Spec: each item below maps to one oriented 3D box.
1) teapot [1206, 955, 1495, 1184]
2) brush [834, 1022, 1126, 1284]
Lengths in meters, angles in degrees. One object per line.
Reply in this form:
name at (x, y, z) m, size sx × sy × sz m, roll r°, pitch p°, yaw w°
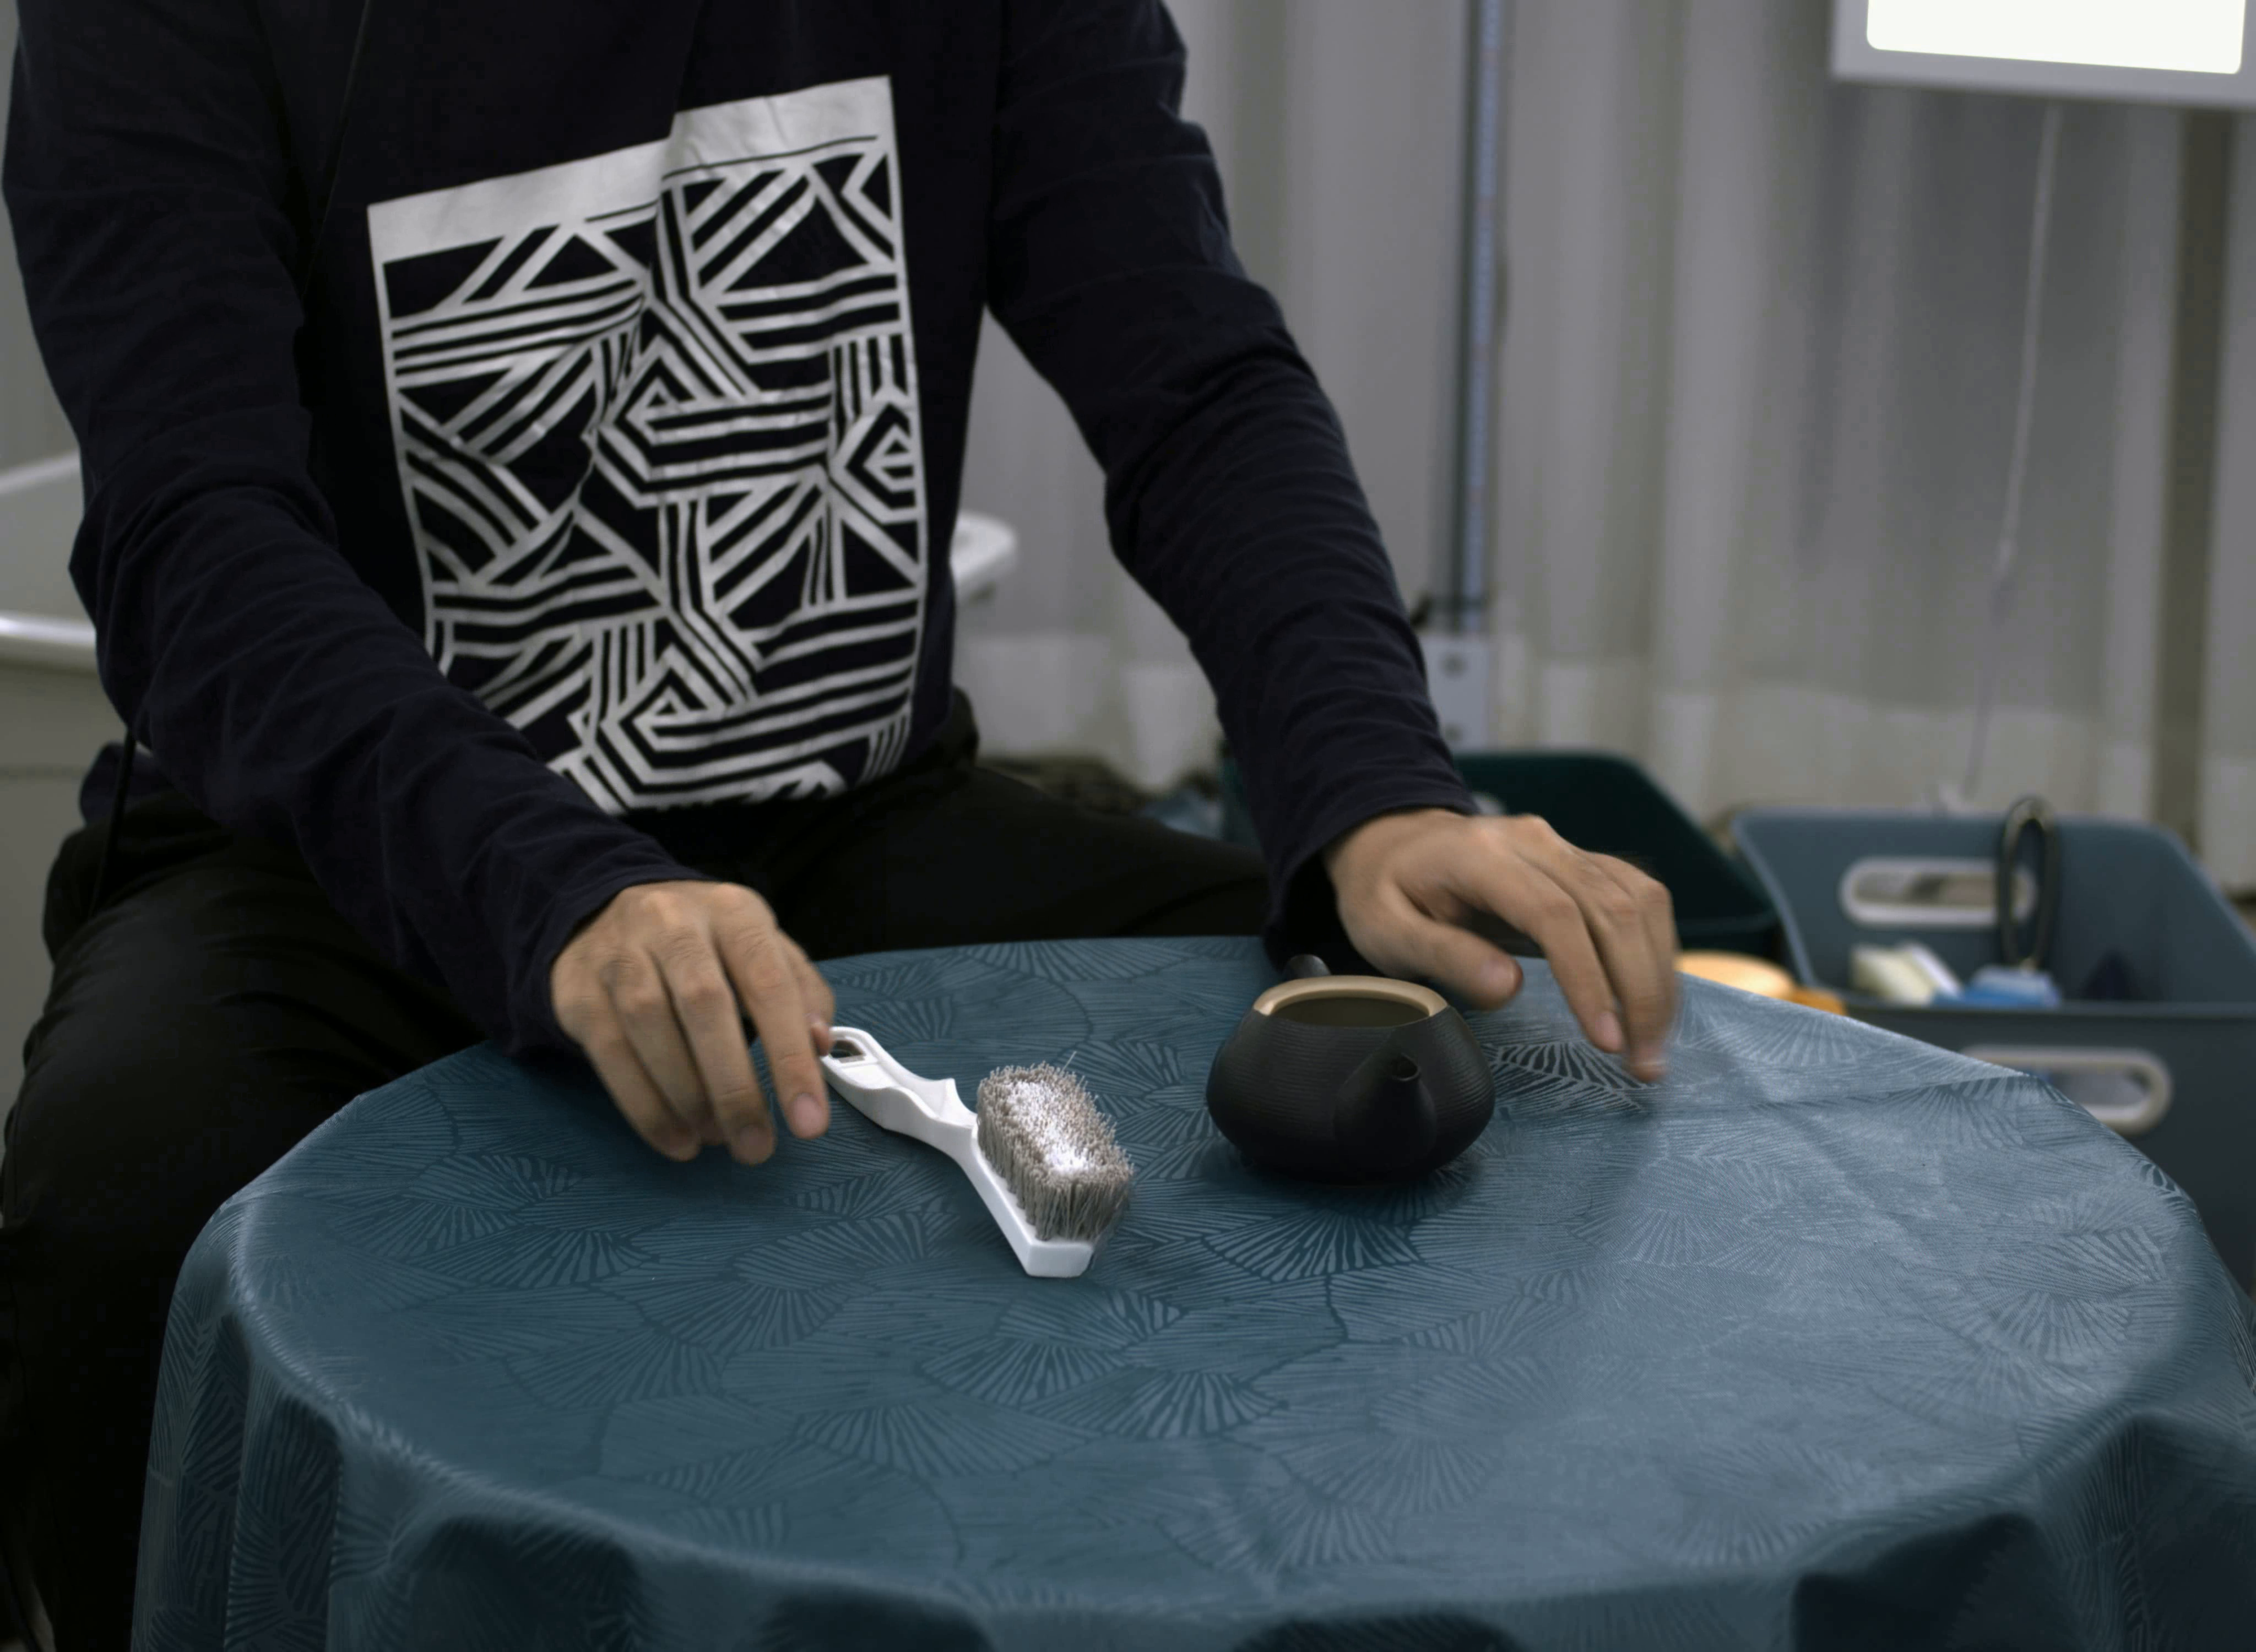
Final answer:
teapot at (0.070, 0.079, 1.649) m, size 0.091 × 0.053 × 0.132 m, roll 0°, pitch 15°, yaw -15°
brush at (-0.052, 0.082, 1.643) m, size 0.034 × 0.051 × 0.241 m, roll -10°, pitch 19°, yaw -16°
